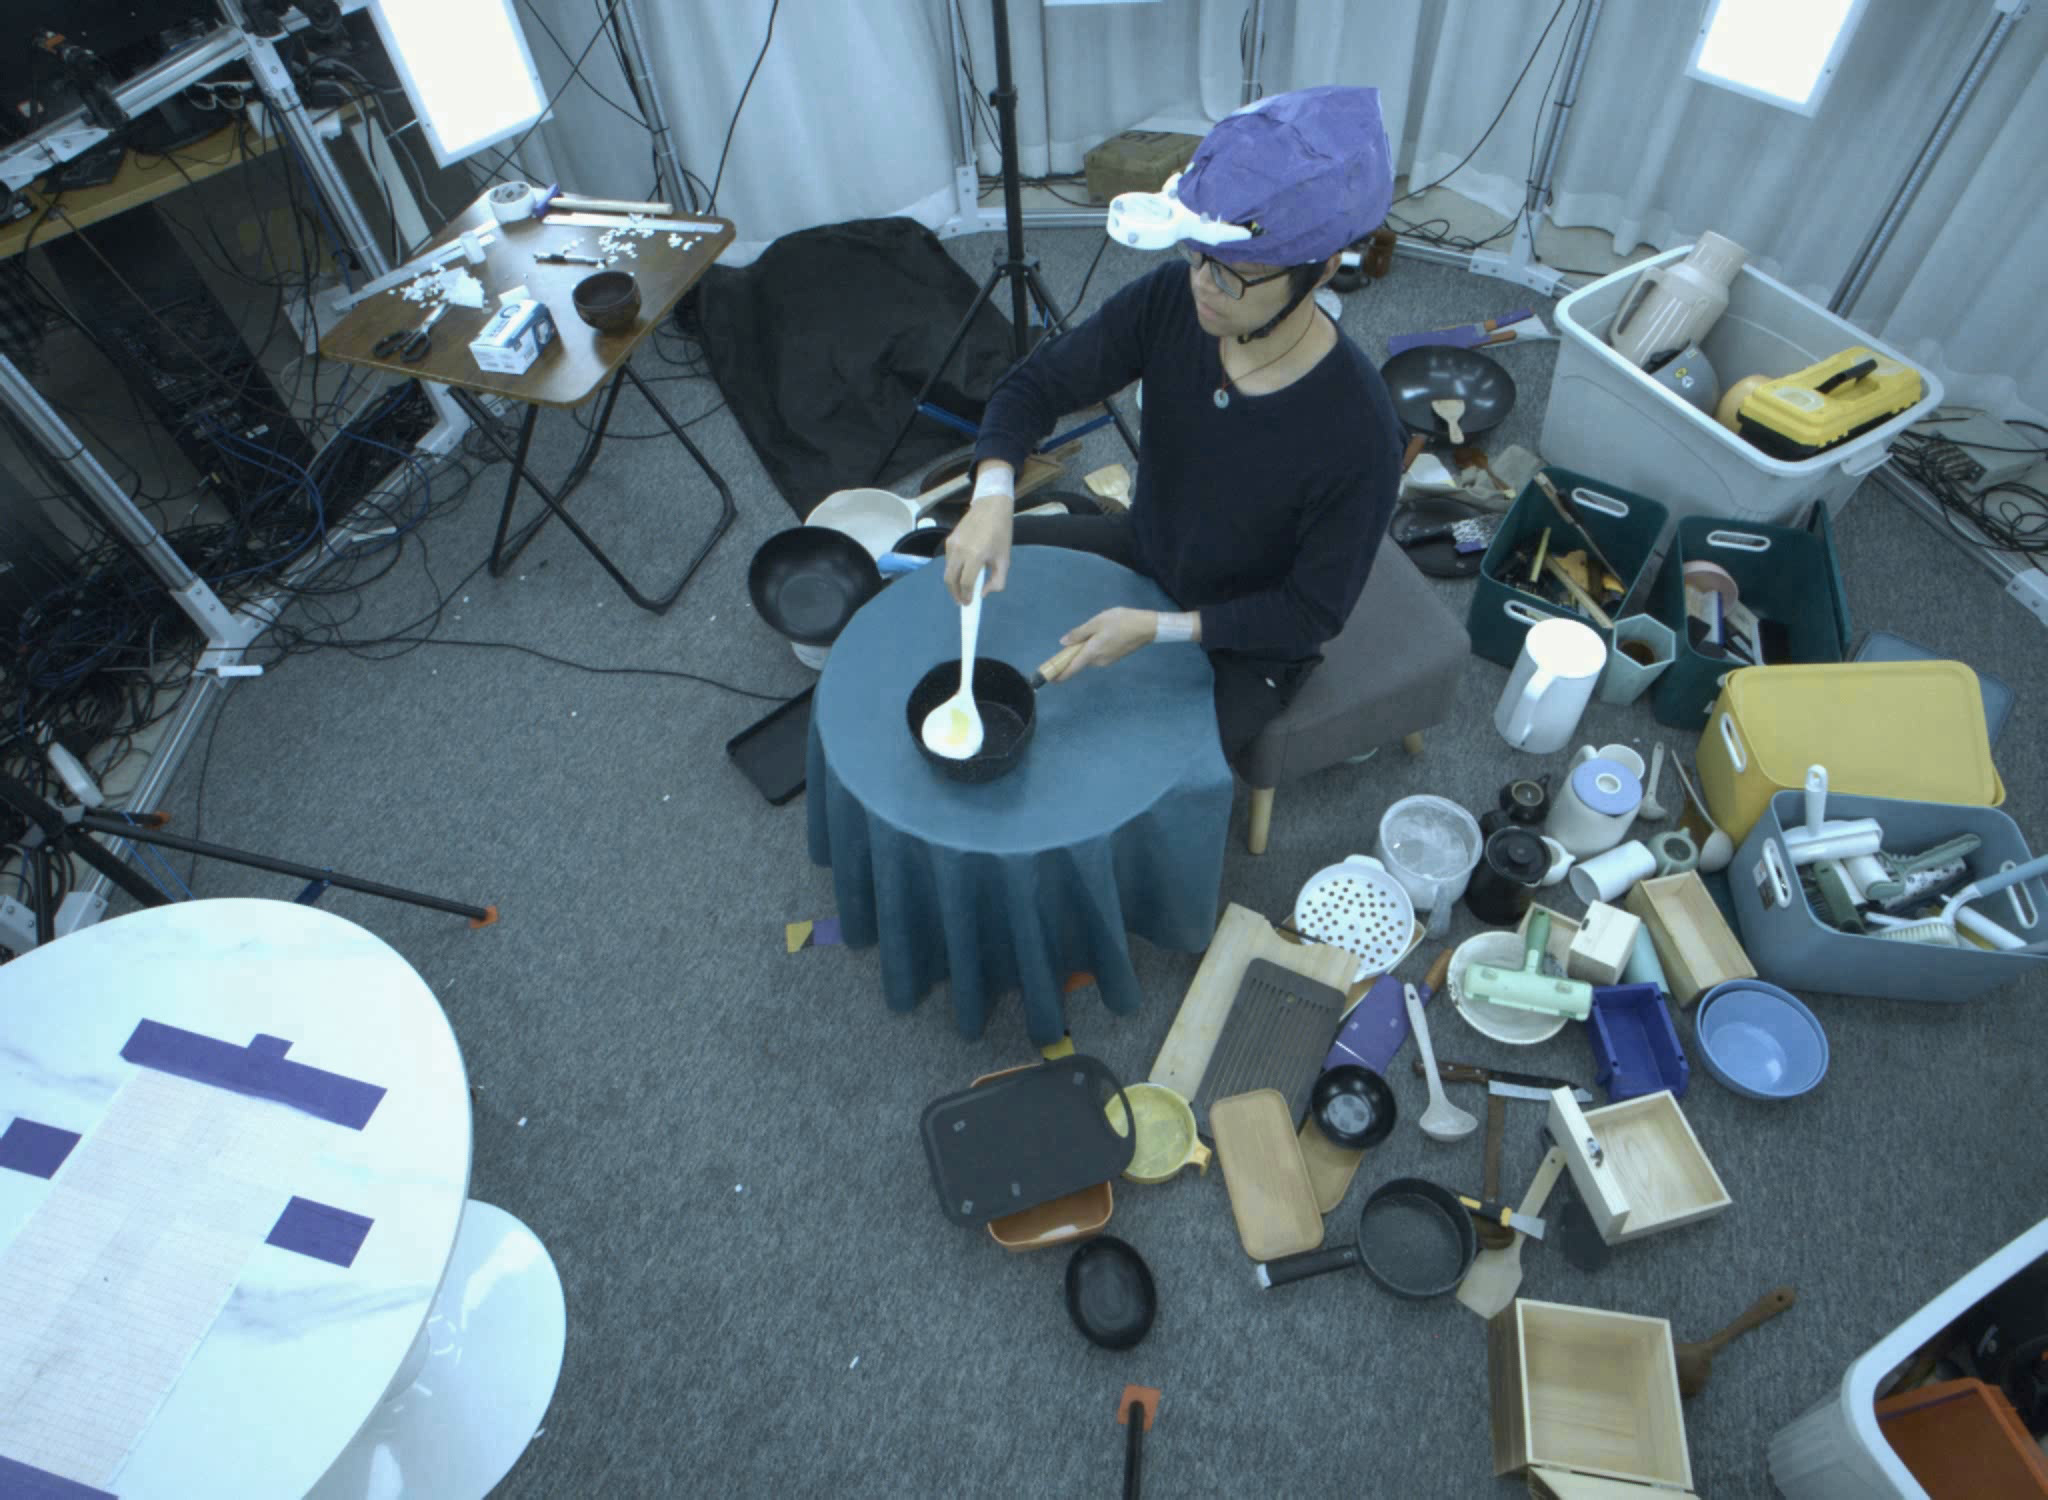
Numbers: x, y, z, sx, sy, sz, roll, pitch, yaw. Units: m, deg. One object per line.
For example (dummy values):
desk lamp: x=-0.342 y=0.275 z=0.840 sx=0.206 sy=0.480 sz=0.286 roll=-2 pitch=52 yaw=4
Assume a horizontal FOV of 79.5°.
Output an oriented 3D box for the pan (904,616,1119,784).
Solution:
pan: x=-0.008 y=-0.082 z=1.775 sx=0.345 sy=0.109 sz=0.203 roll=-31 pitch=58 yaw=-15

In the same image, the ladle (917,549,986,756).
ladle: x=-0.092 y=-0.128 z=1.679 sx=0.089 sy=0.295 sz=0.070 roll=22 pitch=34 yaw=22
